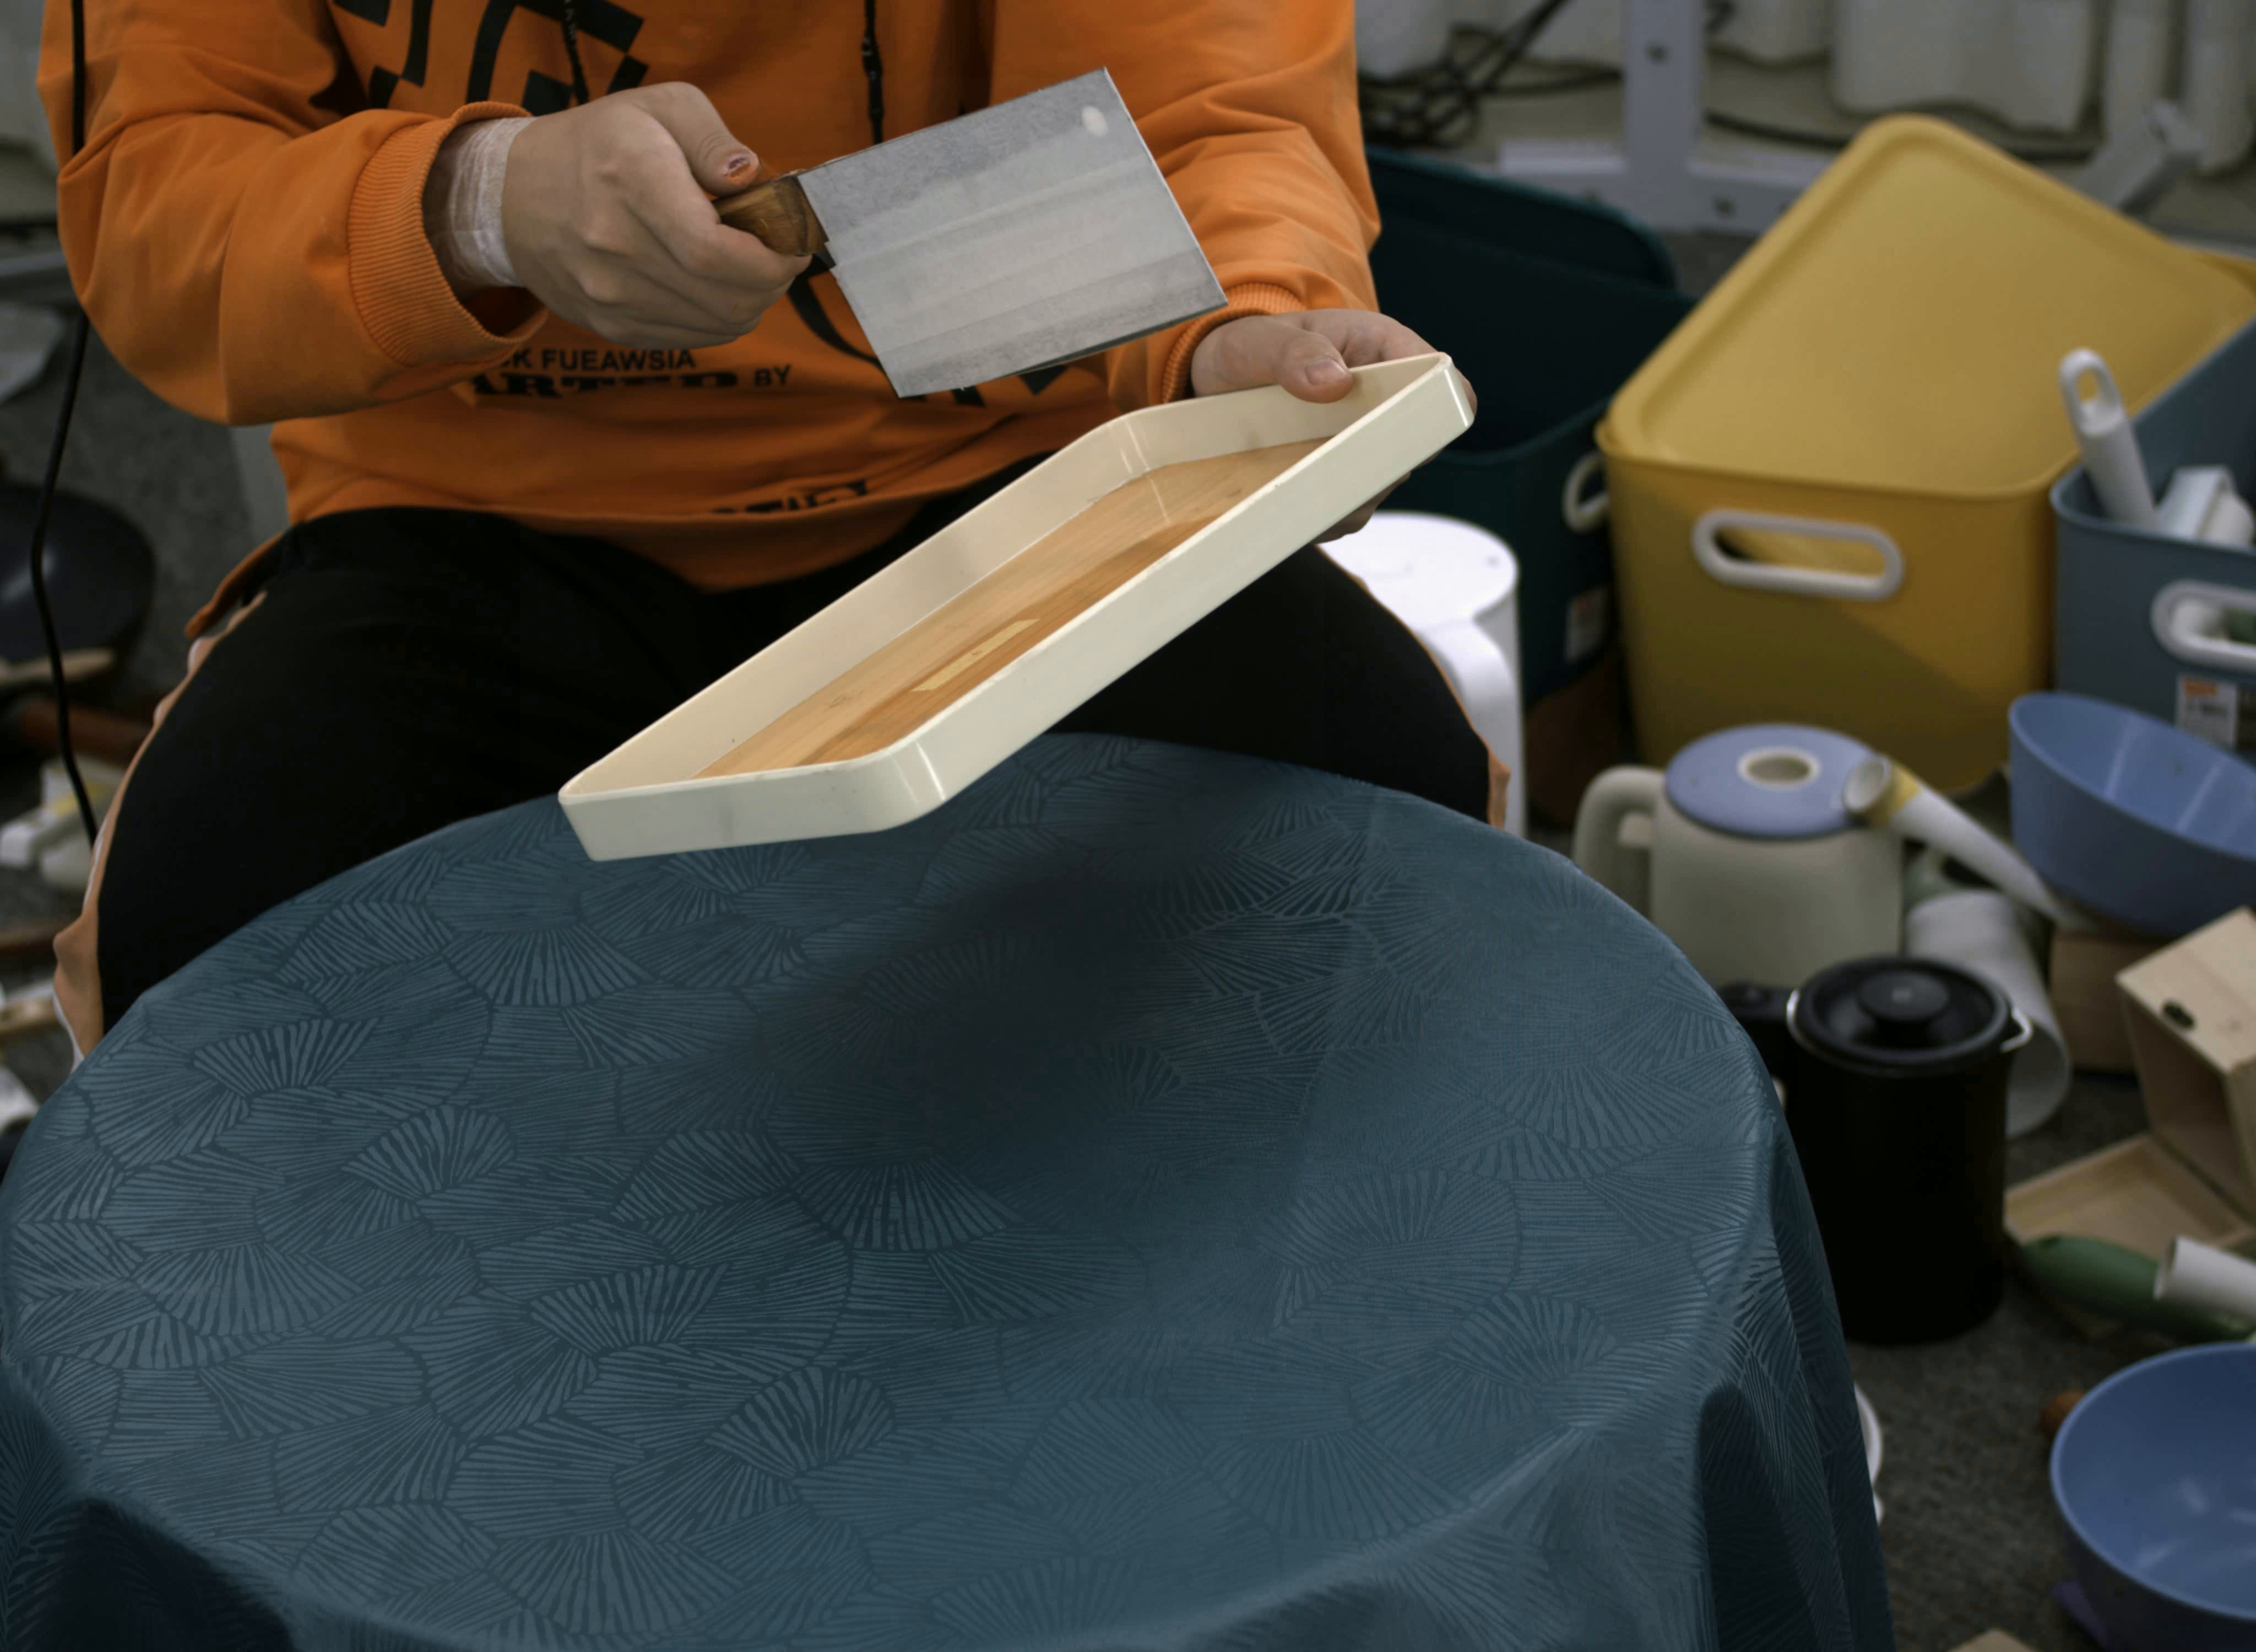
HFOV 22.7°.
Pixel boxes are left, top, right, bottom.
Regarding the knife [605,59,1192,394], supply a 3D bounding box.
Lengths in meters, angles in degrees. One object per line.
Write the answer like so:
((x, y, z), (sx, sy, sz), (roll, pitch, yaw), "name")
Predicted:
((-0.080, -0.195, 1.960), (0.021, 0.092, 0.302), (-38, 16, -35), "knife")

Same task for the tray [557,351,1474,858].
((-0.036, -0.075, 1.901), (0.189, 0.027, 0.304), (-7, 23, 49), "tray")
